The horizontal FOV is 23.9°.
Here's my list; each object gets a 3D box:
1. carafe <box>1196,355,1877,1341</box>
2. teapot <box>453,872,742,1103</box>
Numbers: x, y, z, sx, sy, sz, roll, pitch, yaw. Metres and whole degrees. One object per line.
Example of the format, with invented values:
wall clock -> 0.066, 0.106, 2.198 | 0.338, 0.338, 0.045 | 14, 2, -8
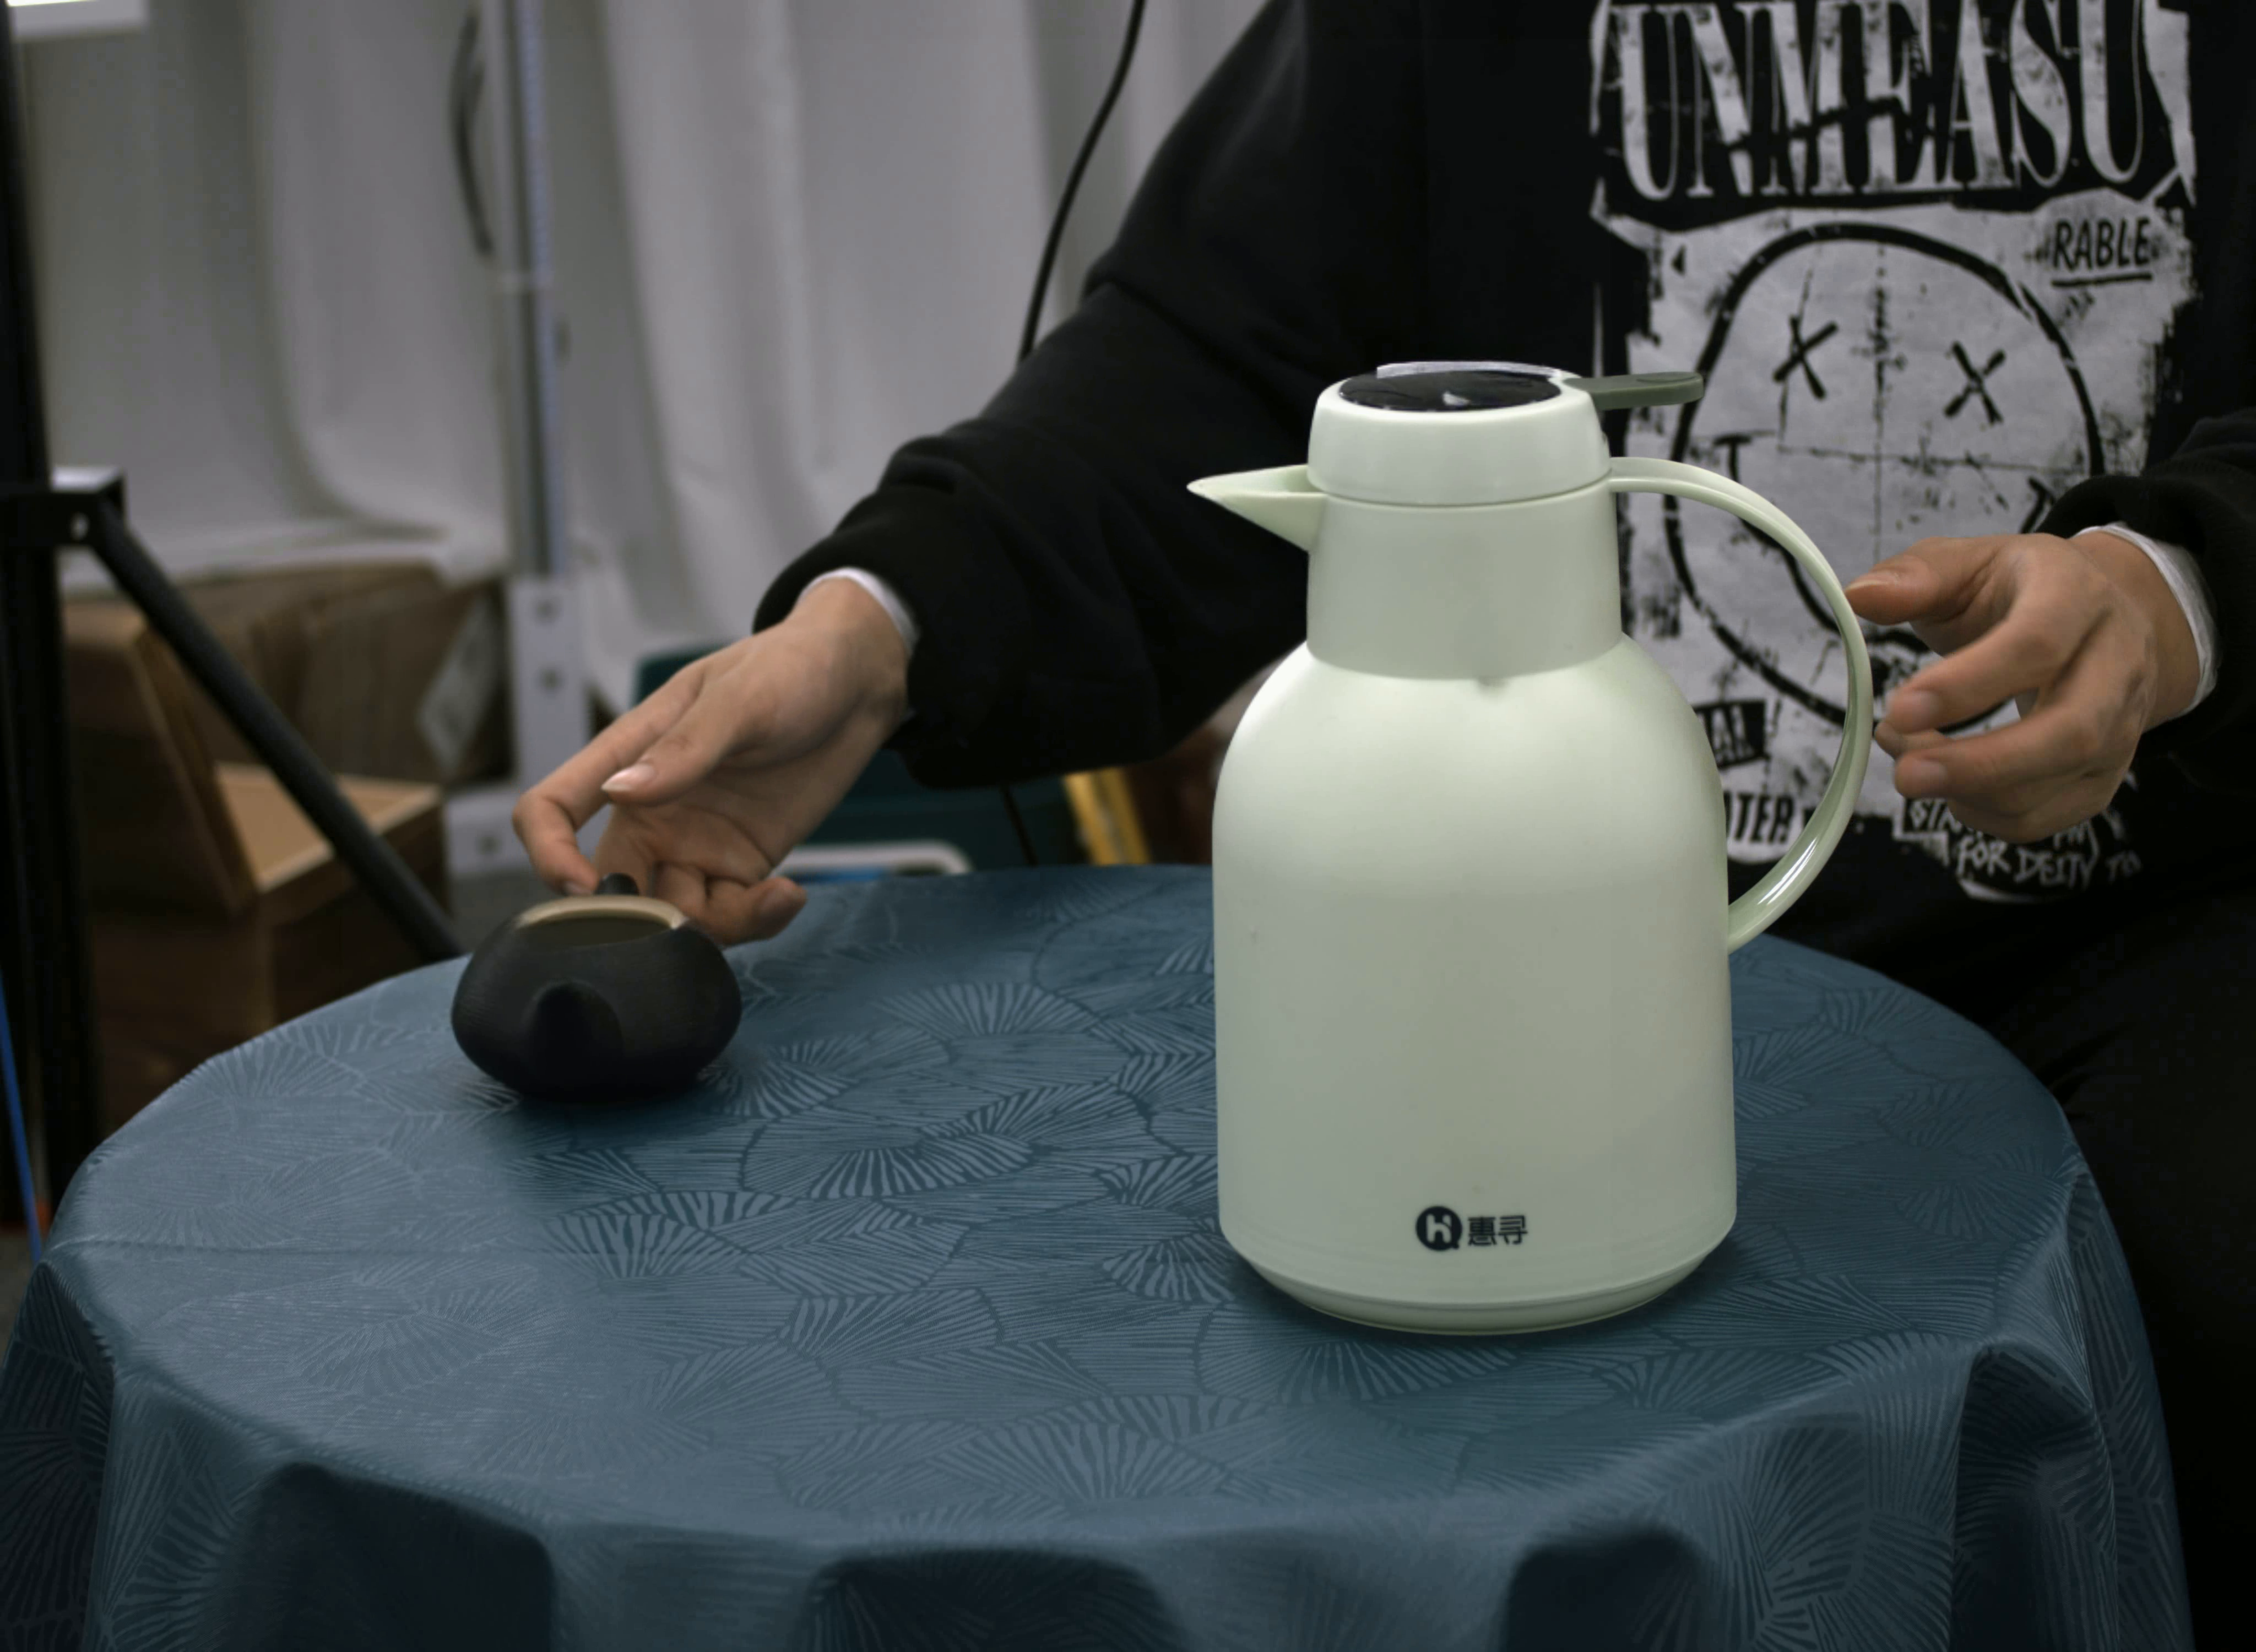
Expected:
carafe -> 0.108, 0.002, 1.452 | 0.186, 0.257, 0.144 | 2, 14, 1
teapot -> -0.166, 0.054, 1.675 | 0.091, 0.053, 0.133 | 1, 16, 5
